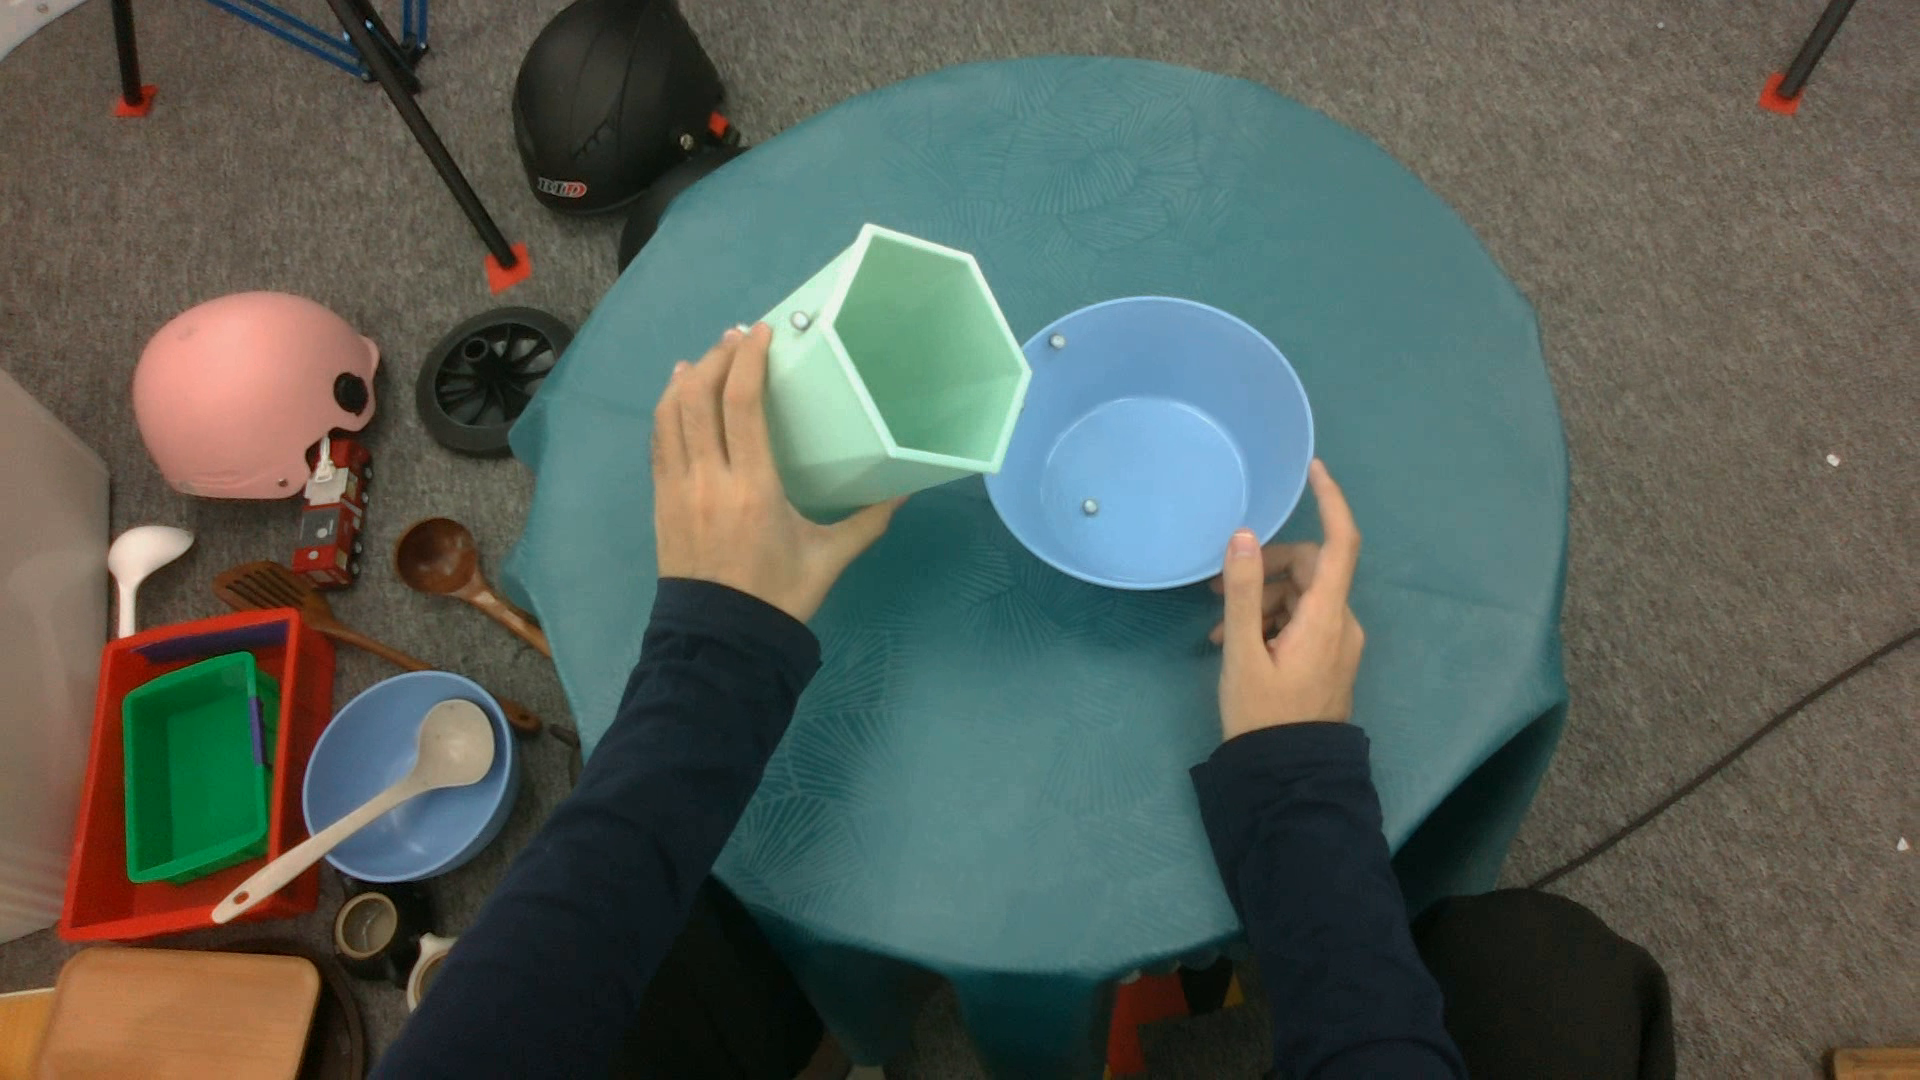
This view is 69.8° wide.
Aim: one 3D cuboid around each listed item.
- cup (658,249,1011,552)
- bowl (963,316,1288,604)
[{"bbox_3d":[-0.075,-0.063,0.714,0.162,0.131,0.115,-18,74,44],"label":"cup"},{"bbox_3d":[0.090,-0.034,0.768,0.176,0.070,0.176,-3,64,6],"label":"bowl"}]
